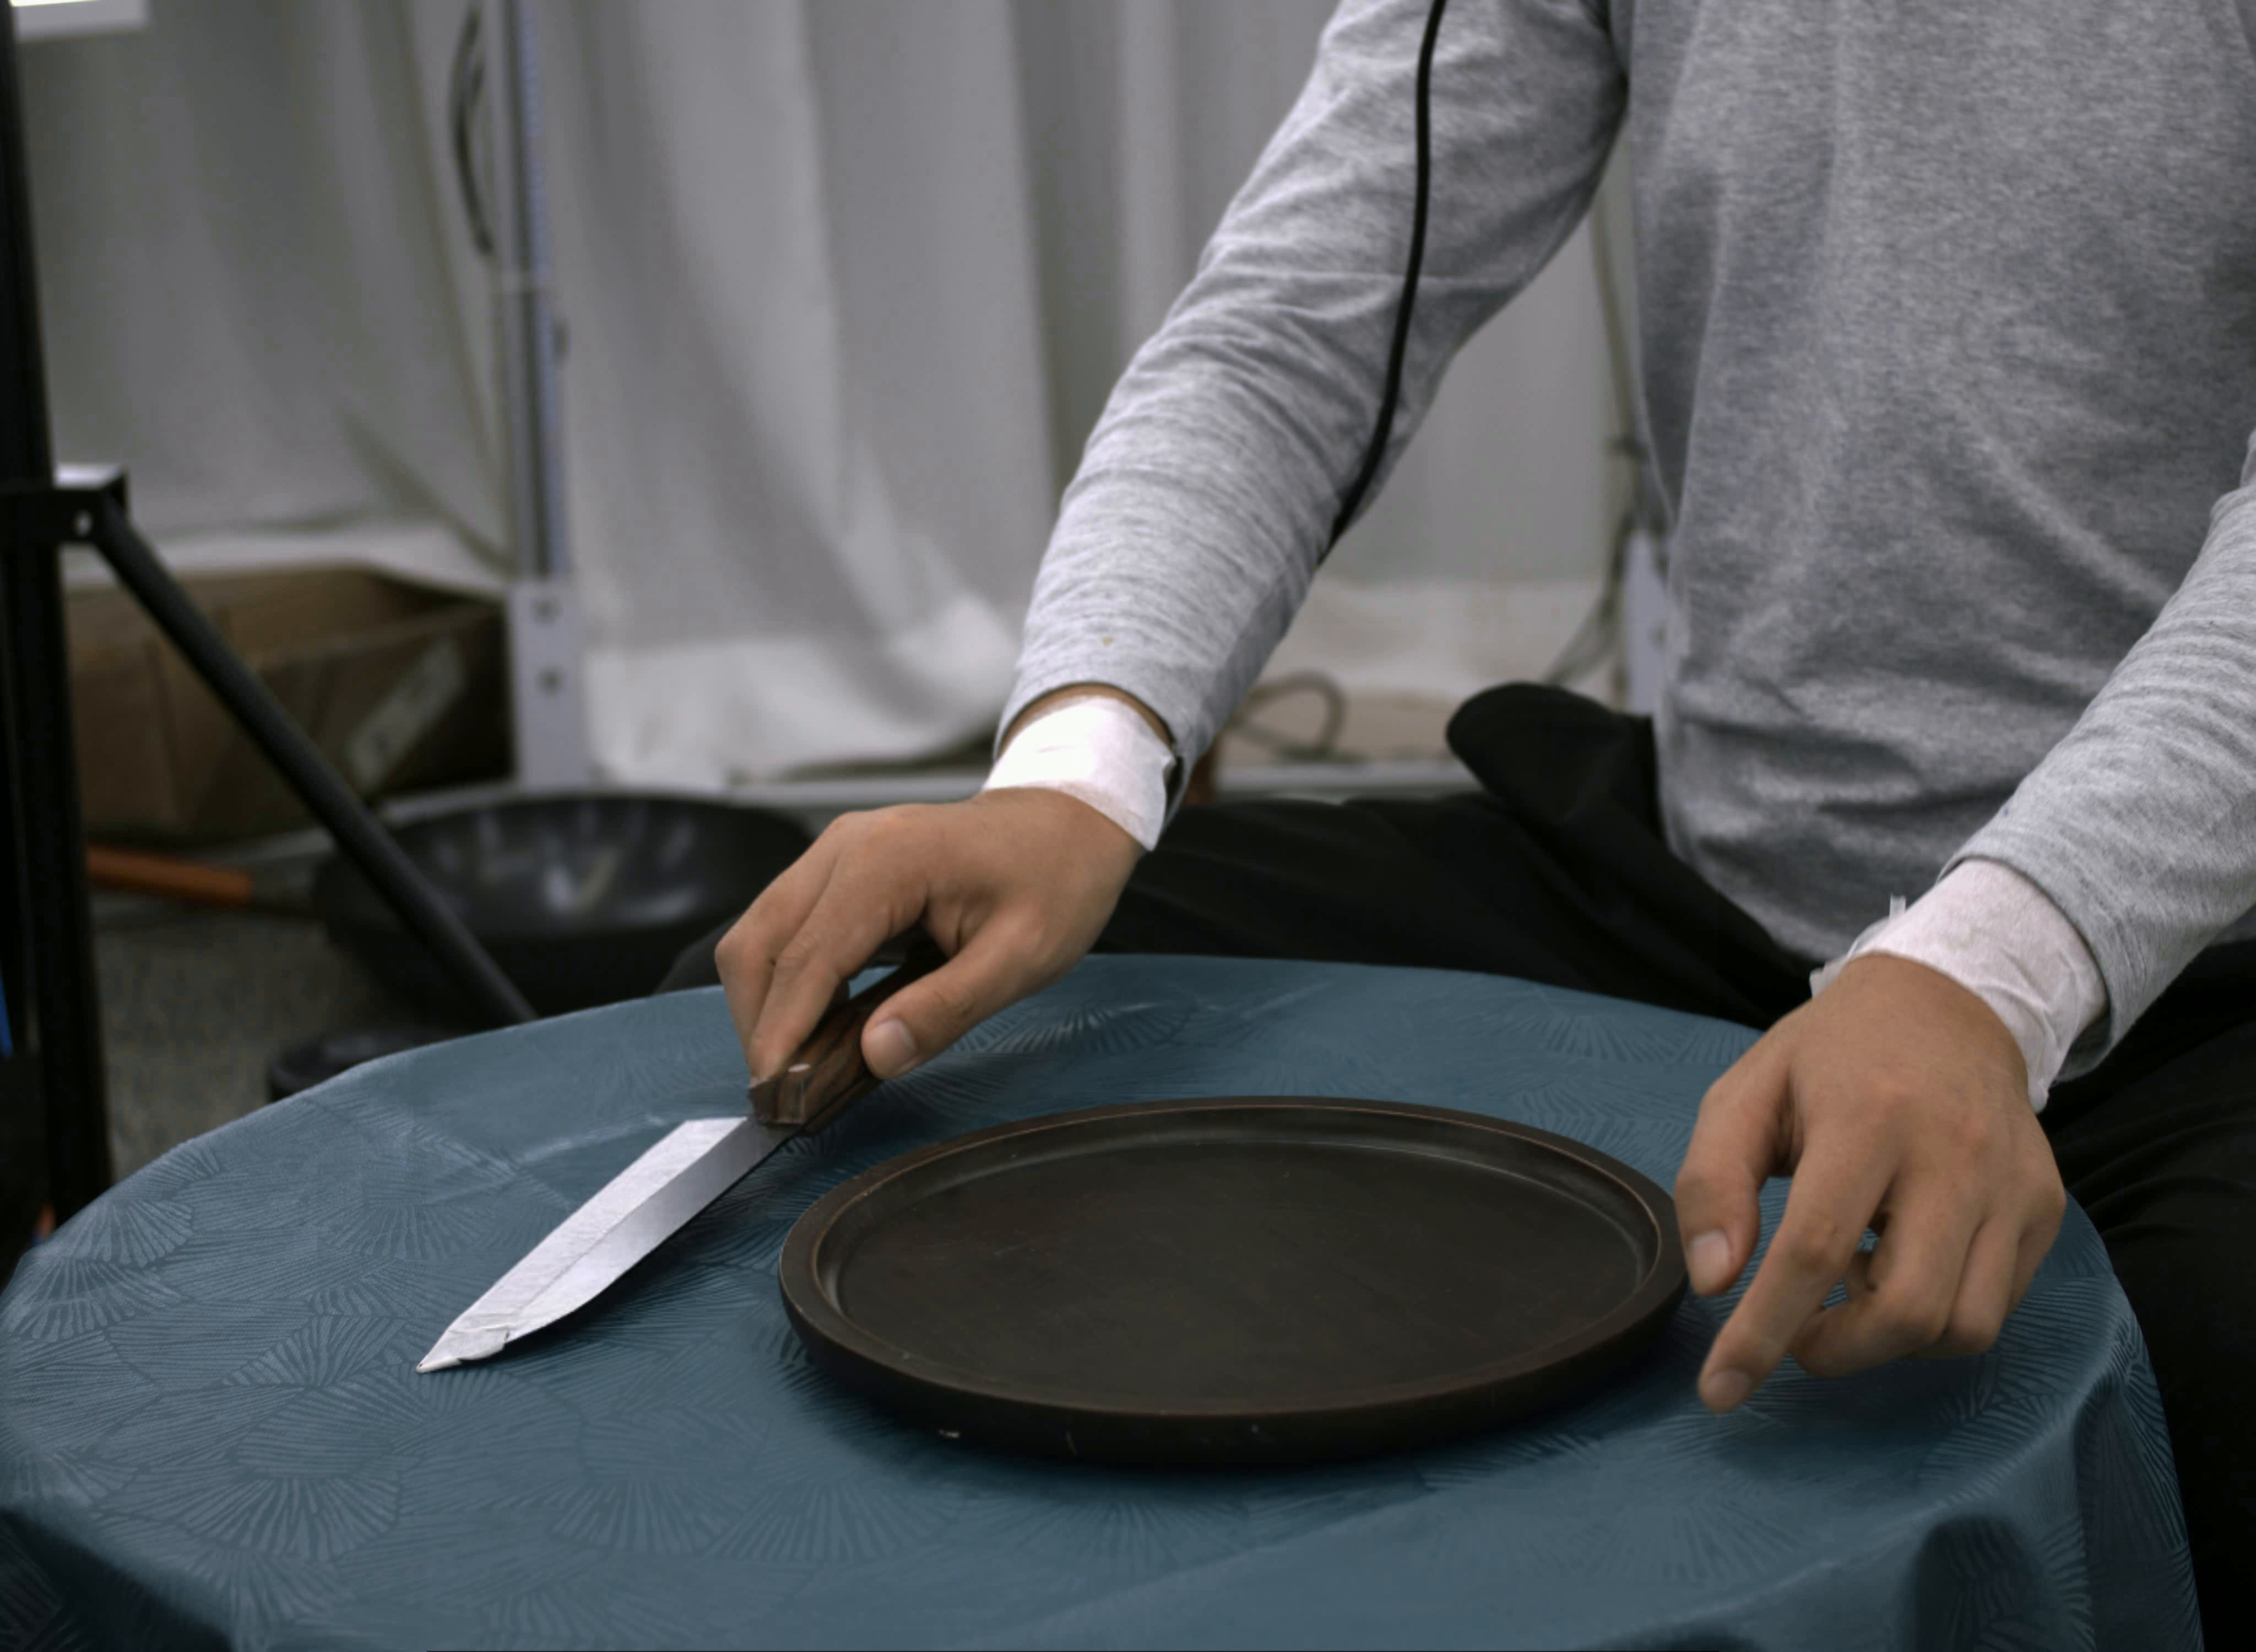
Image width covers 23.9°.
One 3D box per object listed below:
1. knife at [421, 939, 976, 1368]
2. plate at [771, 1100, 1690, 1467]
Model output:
[{"bbox_3d":[-0.121,0.095,1.559,0.051,0.020,0.285,-3,20,32],"label":"knife"},{"bbox_3d":[0.029,0.123,1.459,0.253,0.029,0.256,-3,14,-1],"label":"plate"}]
